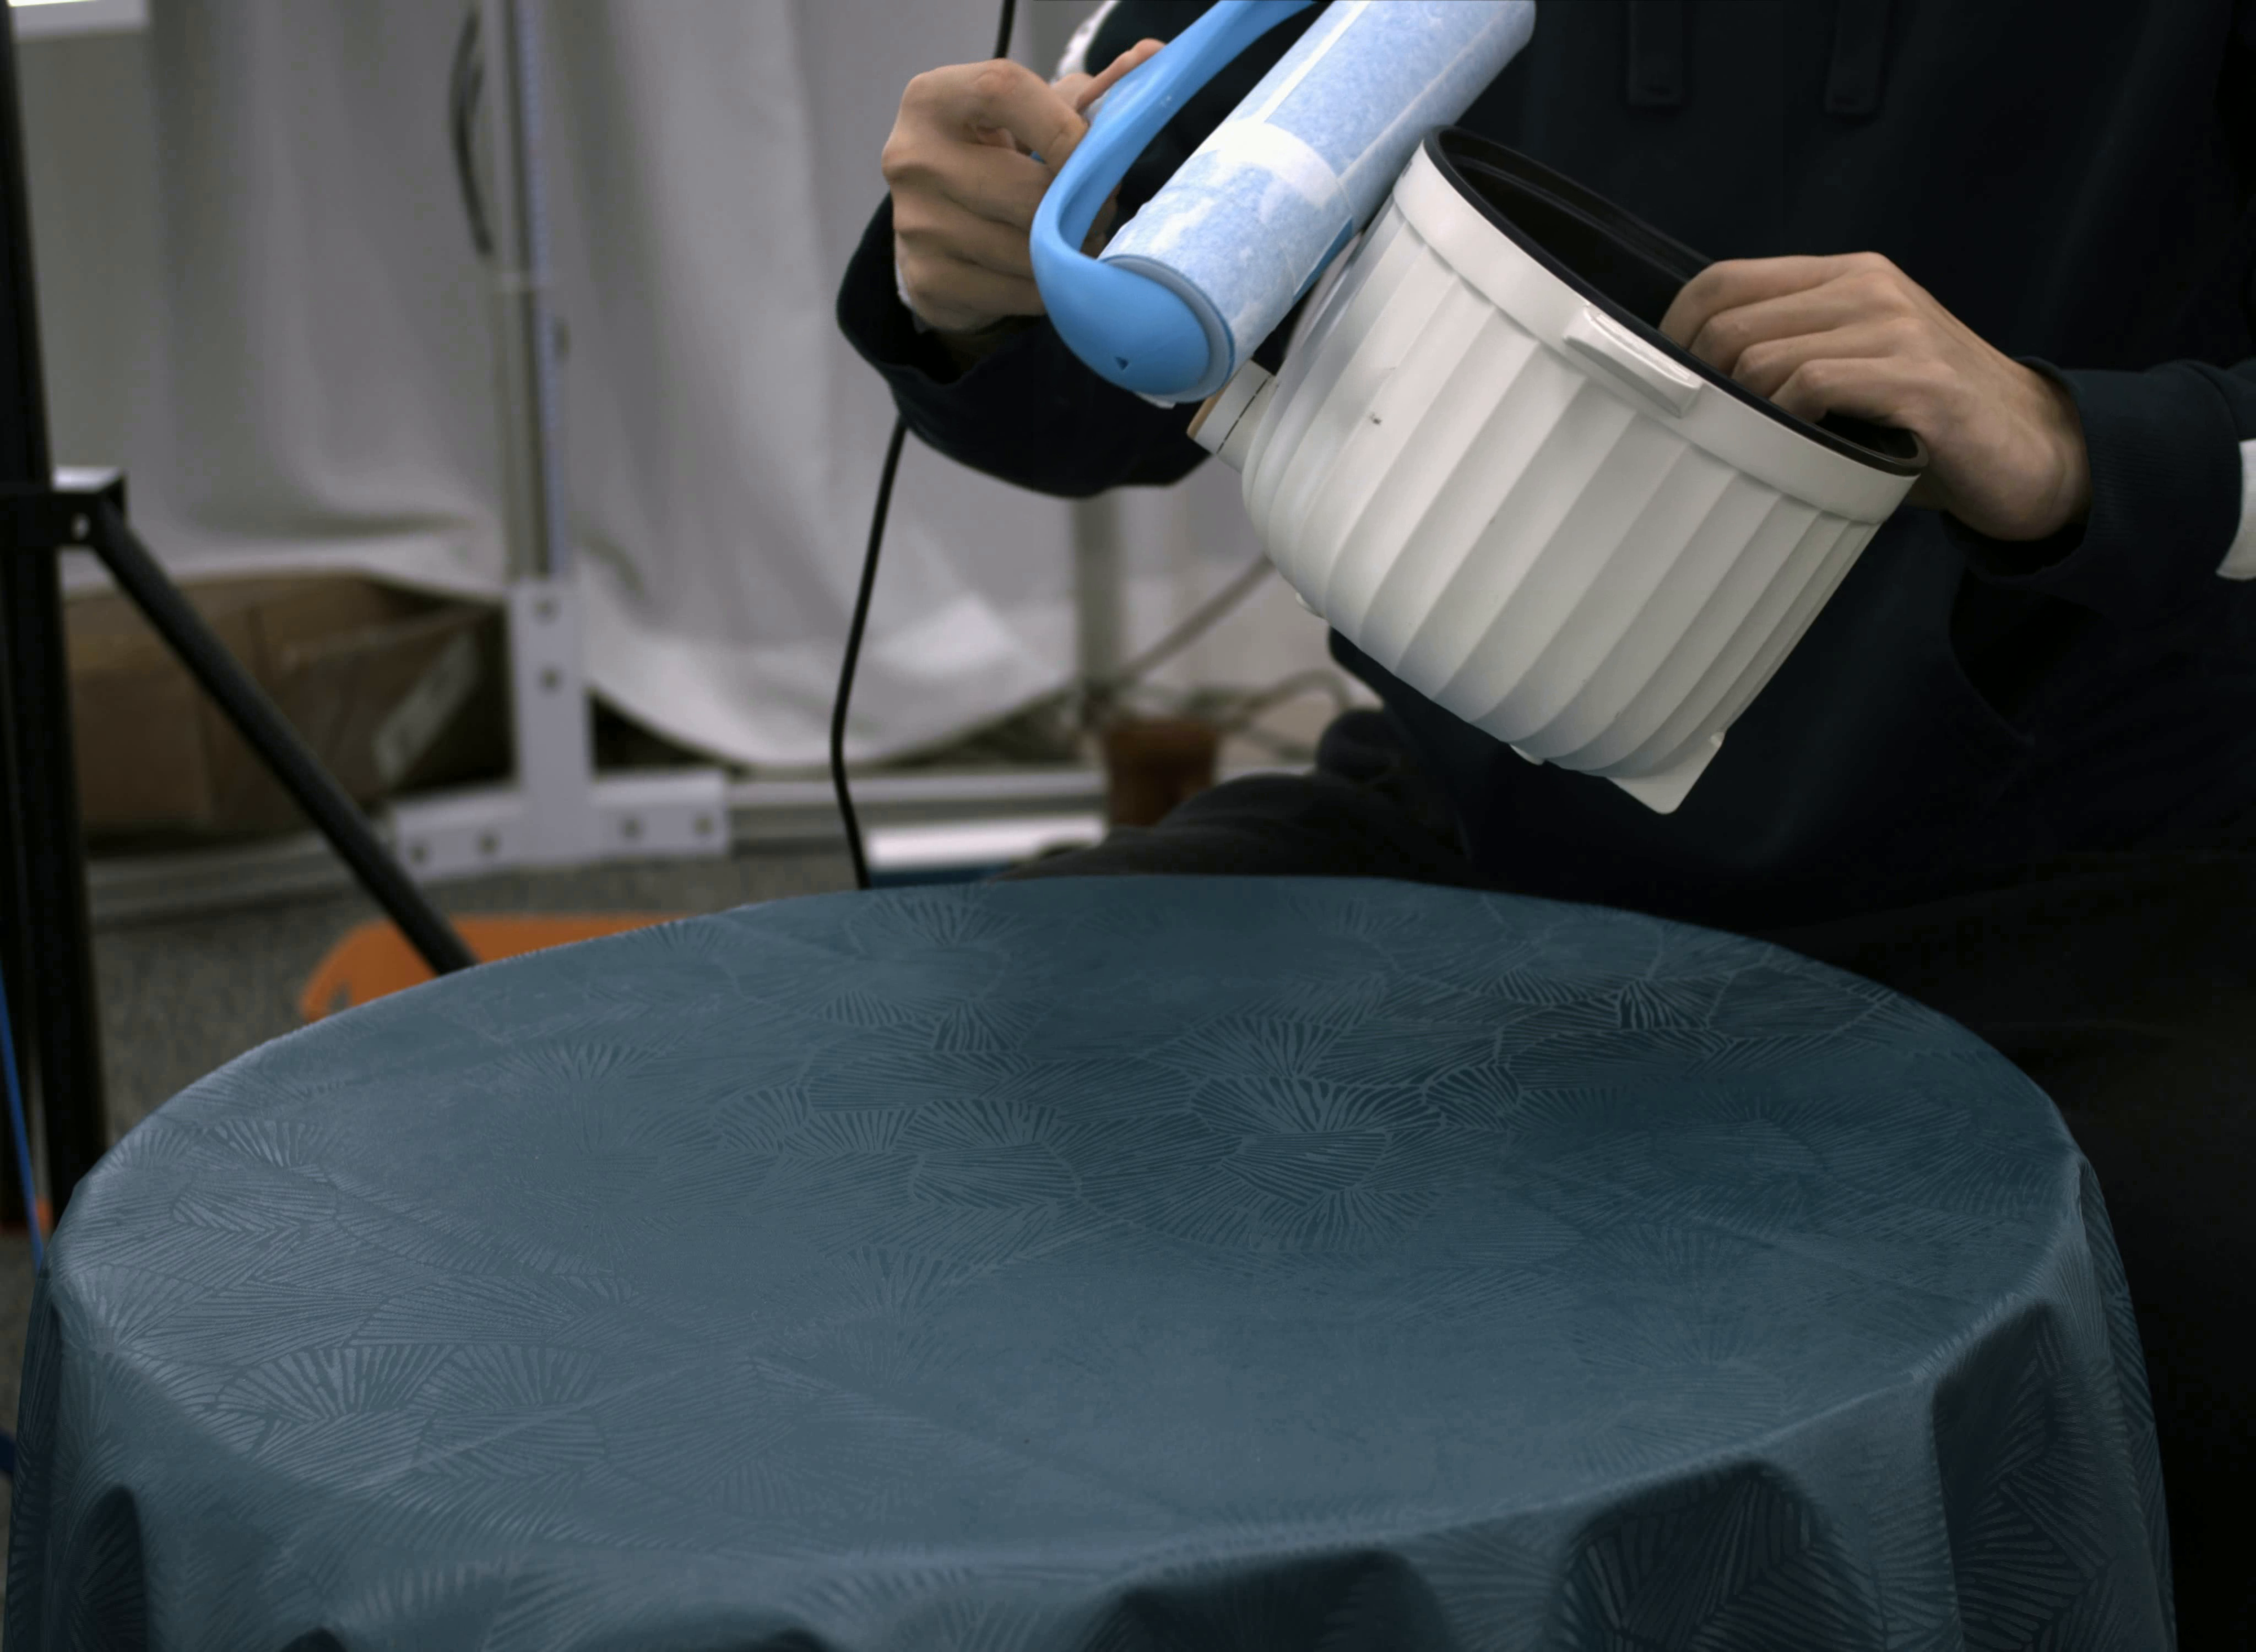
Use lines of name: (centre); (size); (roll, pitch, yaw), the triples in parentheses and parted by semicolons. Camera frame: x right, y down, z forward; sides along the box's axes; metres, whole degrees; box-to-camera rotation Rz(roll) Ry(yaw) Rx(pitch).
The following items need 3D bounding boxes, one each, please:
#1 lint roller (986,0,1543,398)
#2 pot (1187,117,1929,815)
lint roller: (0.014, -0.202, 1.656); (0.184, 0.067, 0.227); (-6, 36, 39)
pot: (0.126, -0.109, 1.613); (0.190, 0.143, 0.239); (37, 15, 1)
